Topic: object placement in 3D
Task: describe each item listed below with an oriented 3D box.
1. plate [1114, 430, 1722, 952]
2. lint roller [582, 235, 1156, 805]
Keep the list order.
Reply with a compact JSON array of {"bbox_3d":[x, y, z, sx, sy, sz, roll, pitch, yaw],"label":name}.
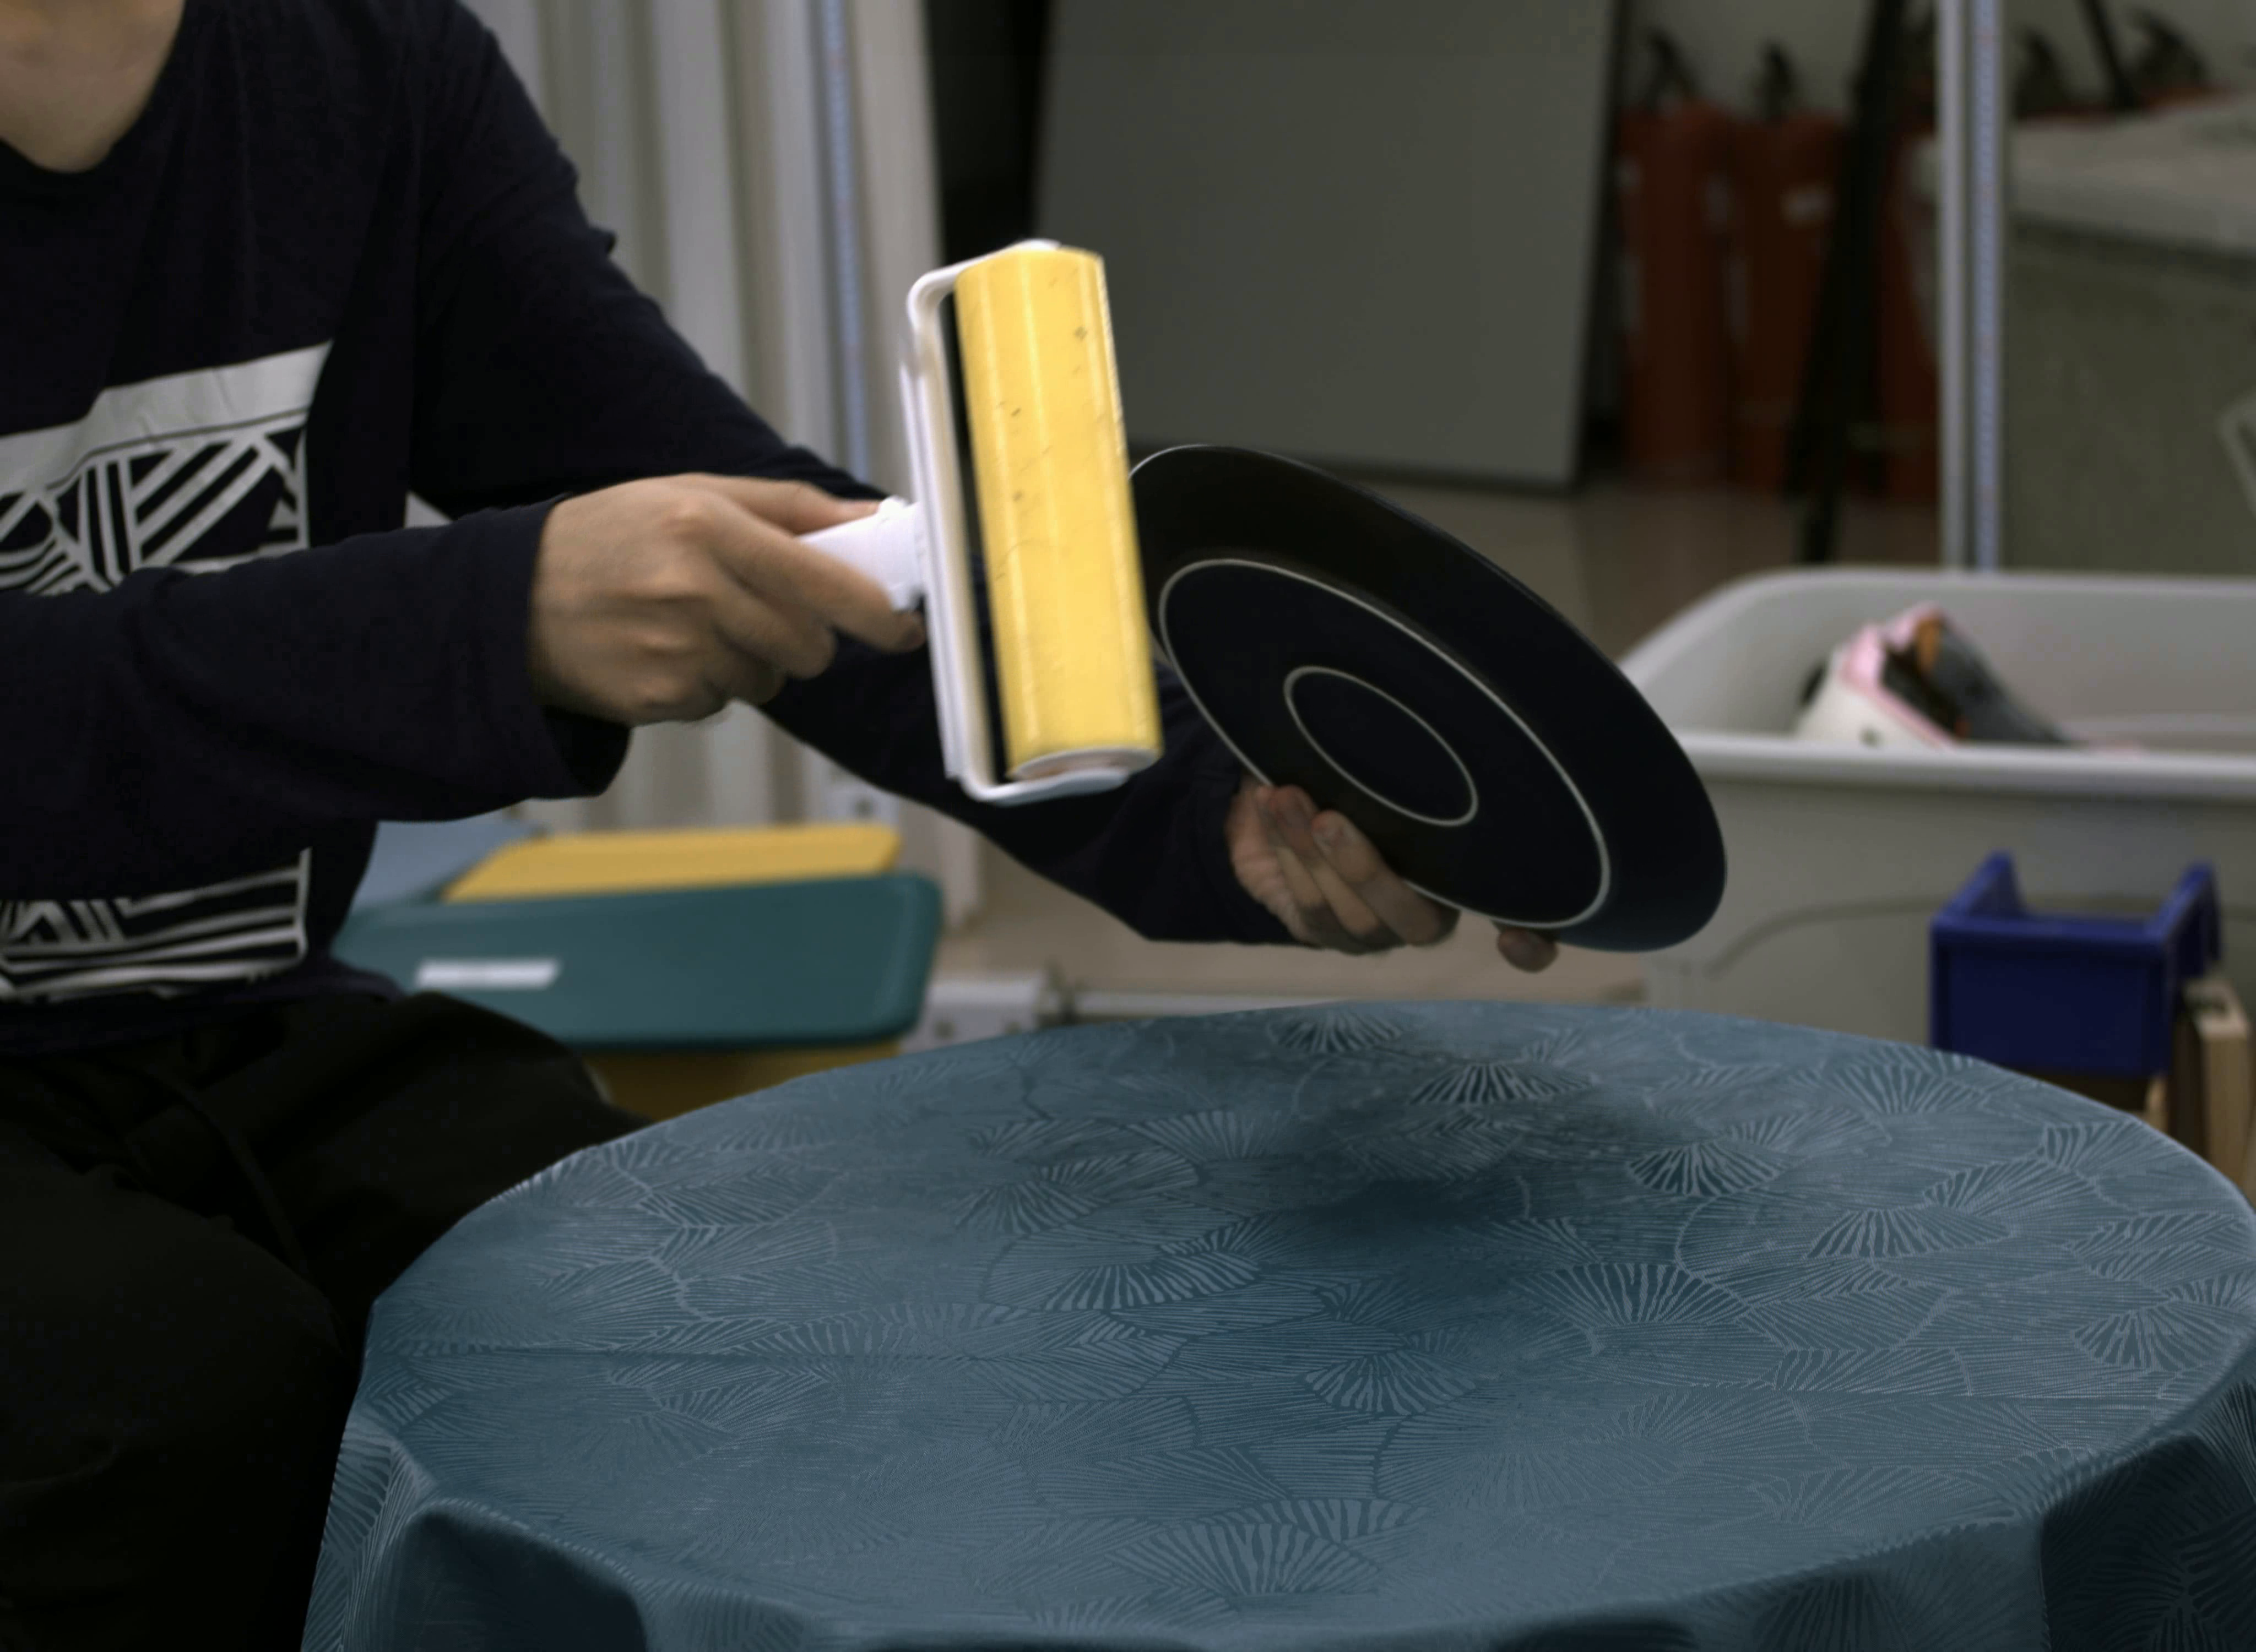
[{"bbox_3d":[0.088,-0.035,1.776,0.247,0.242,0.023,12,56,49],"label":"plate"},{"bbox_3d":[-0.091,-0.081,1.691,0.191,0.176,0.051,-13,-16,17],"label":"lint roller"}]
